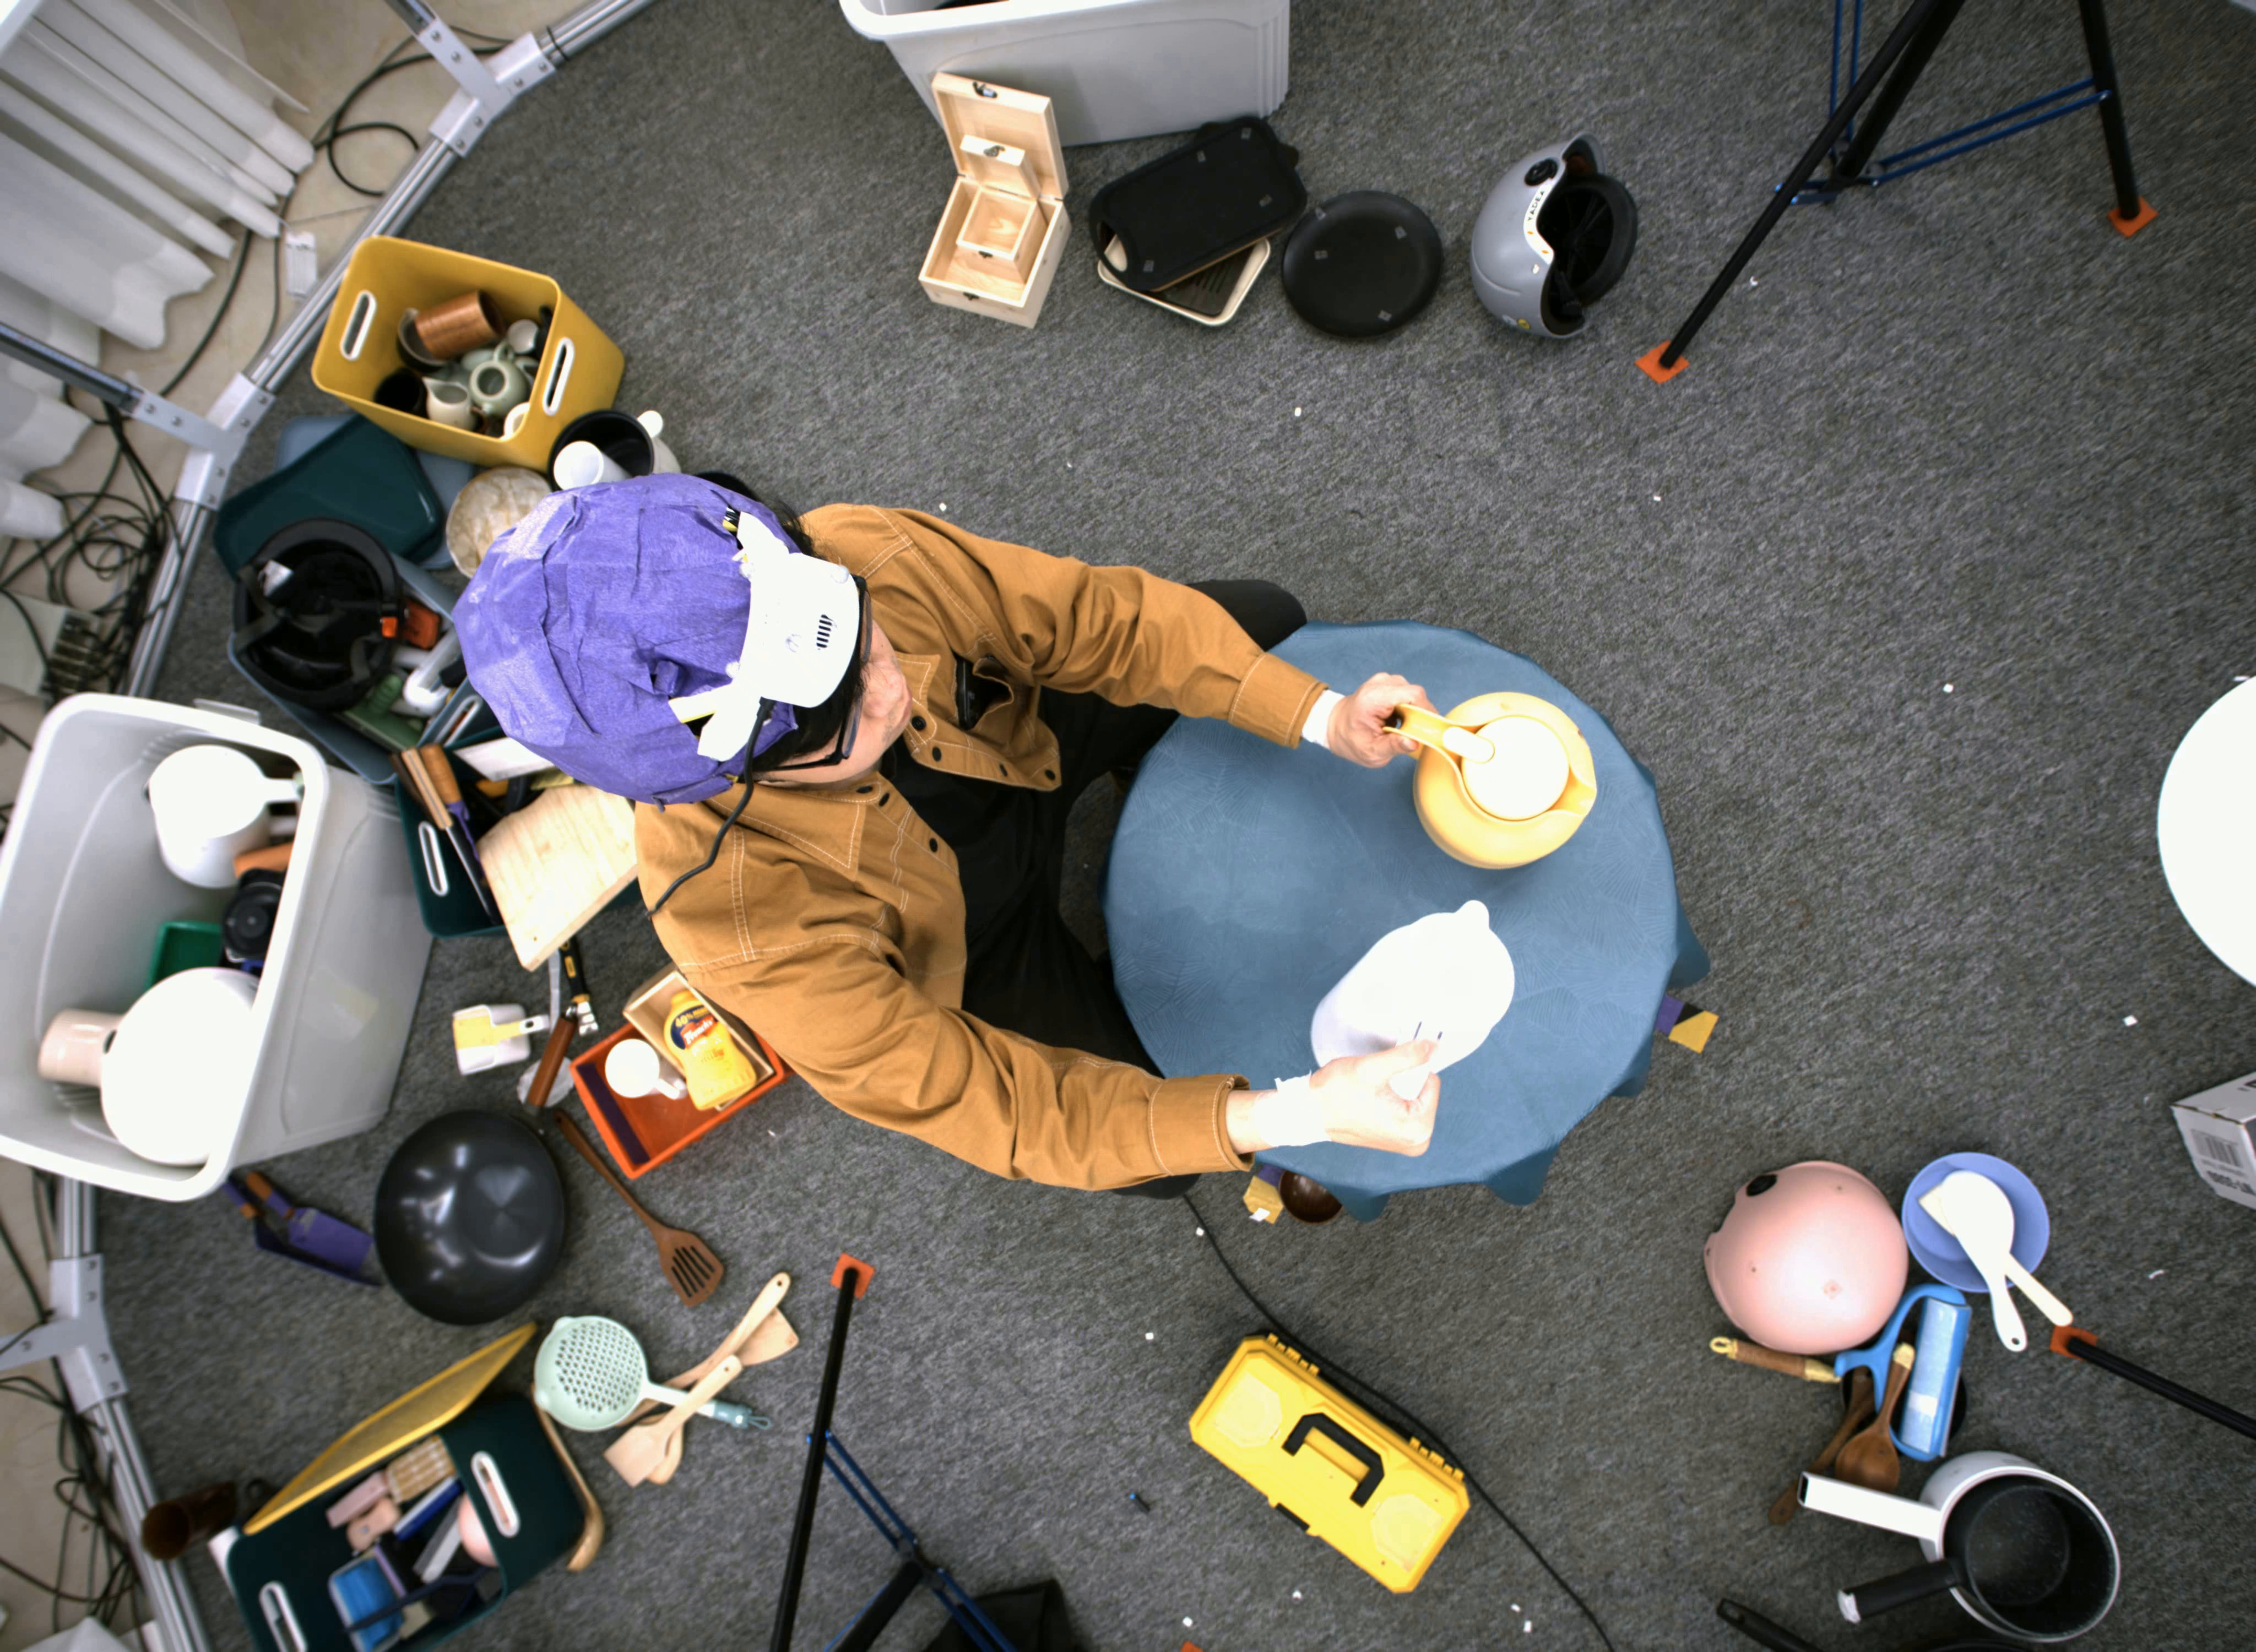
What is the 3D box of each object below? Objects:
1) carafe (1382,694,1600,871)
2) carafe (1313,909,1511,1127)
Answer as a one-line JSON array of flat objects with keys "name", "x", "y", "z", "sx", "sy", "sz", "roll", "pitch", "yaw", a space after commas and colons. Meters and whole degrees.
[{"name": "carafe", "x": 0.334, "y": -0.054, "z": 1.283, "sx": 0.202, "sy": 0.260, "sz": 0.163, "roll": 29, "pitch": 91, "yaw": 9}, {"name": "carafe", "x": 0.237, "y": 0.177, "z": 1.201, "sx": 0.124, "sy": 0.273, "sz": 0.170, "roll": 26, "pitch": 73, "yaw": 2}]
